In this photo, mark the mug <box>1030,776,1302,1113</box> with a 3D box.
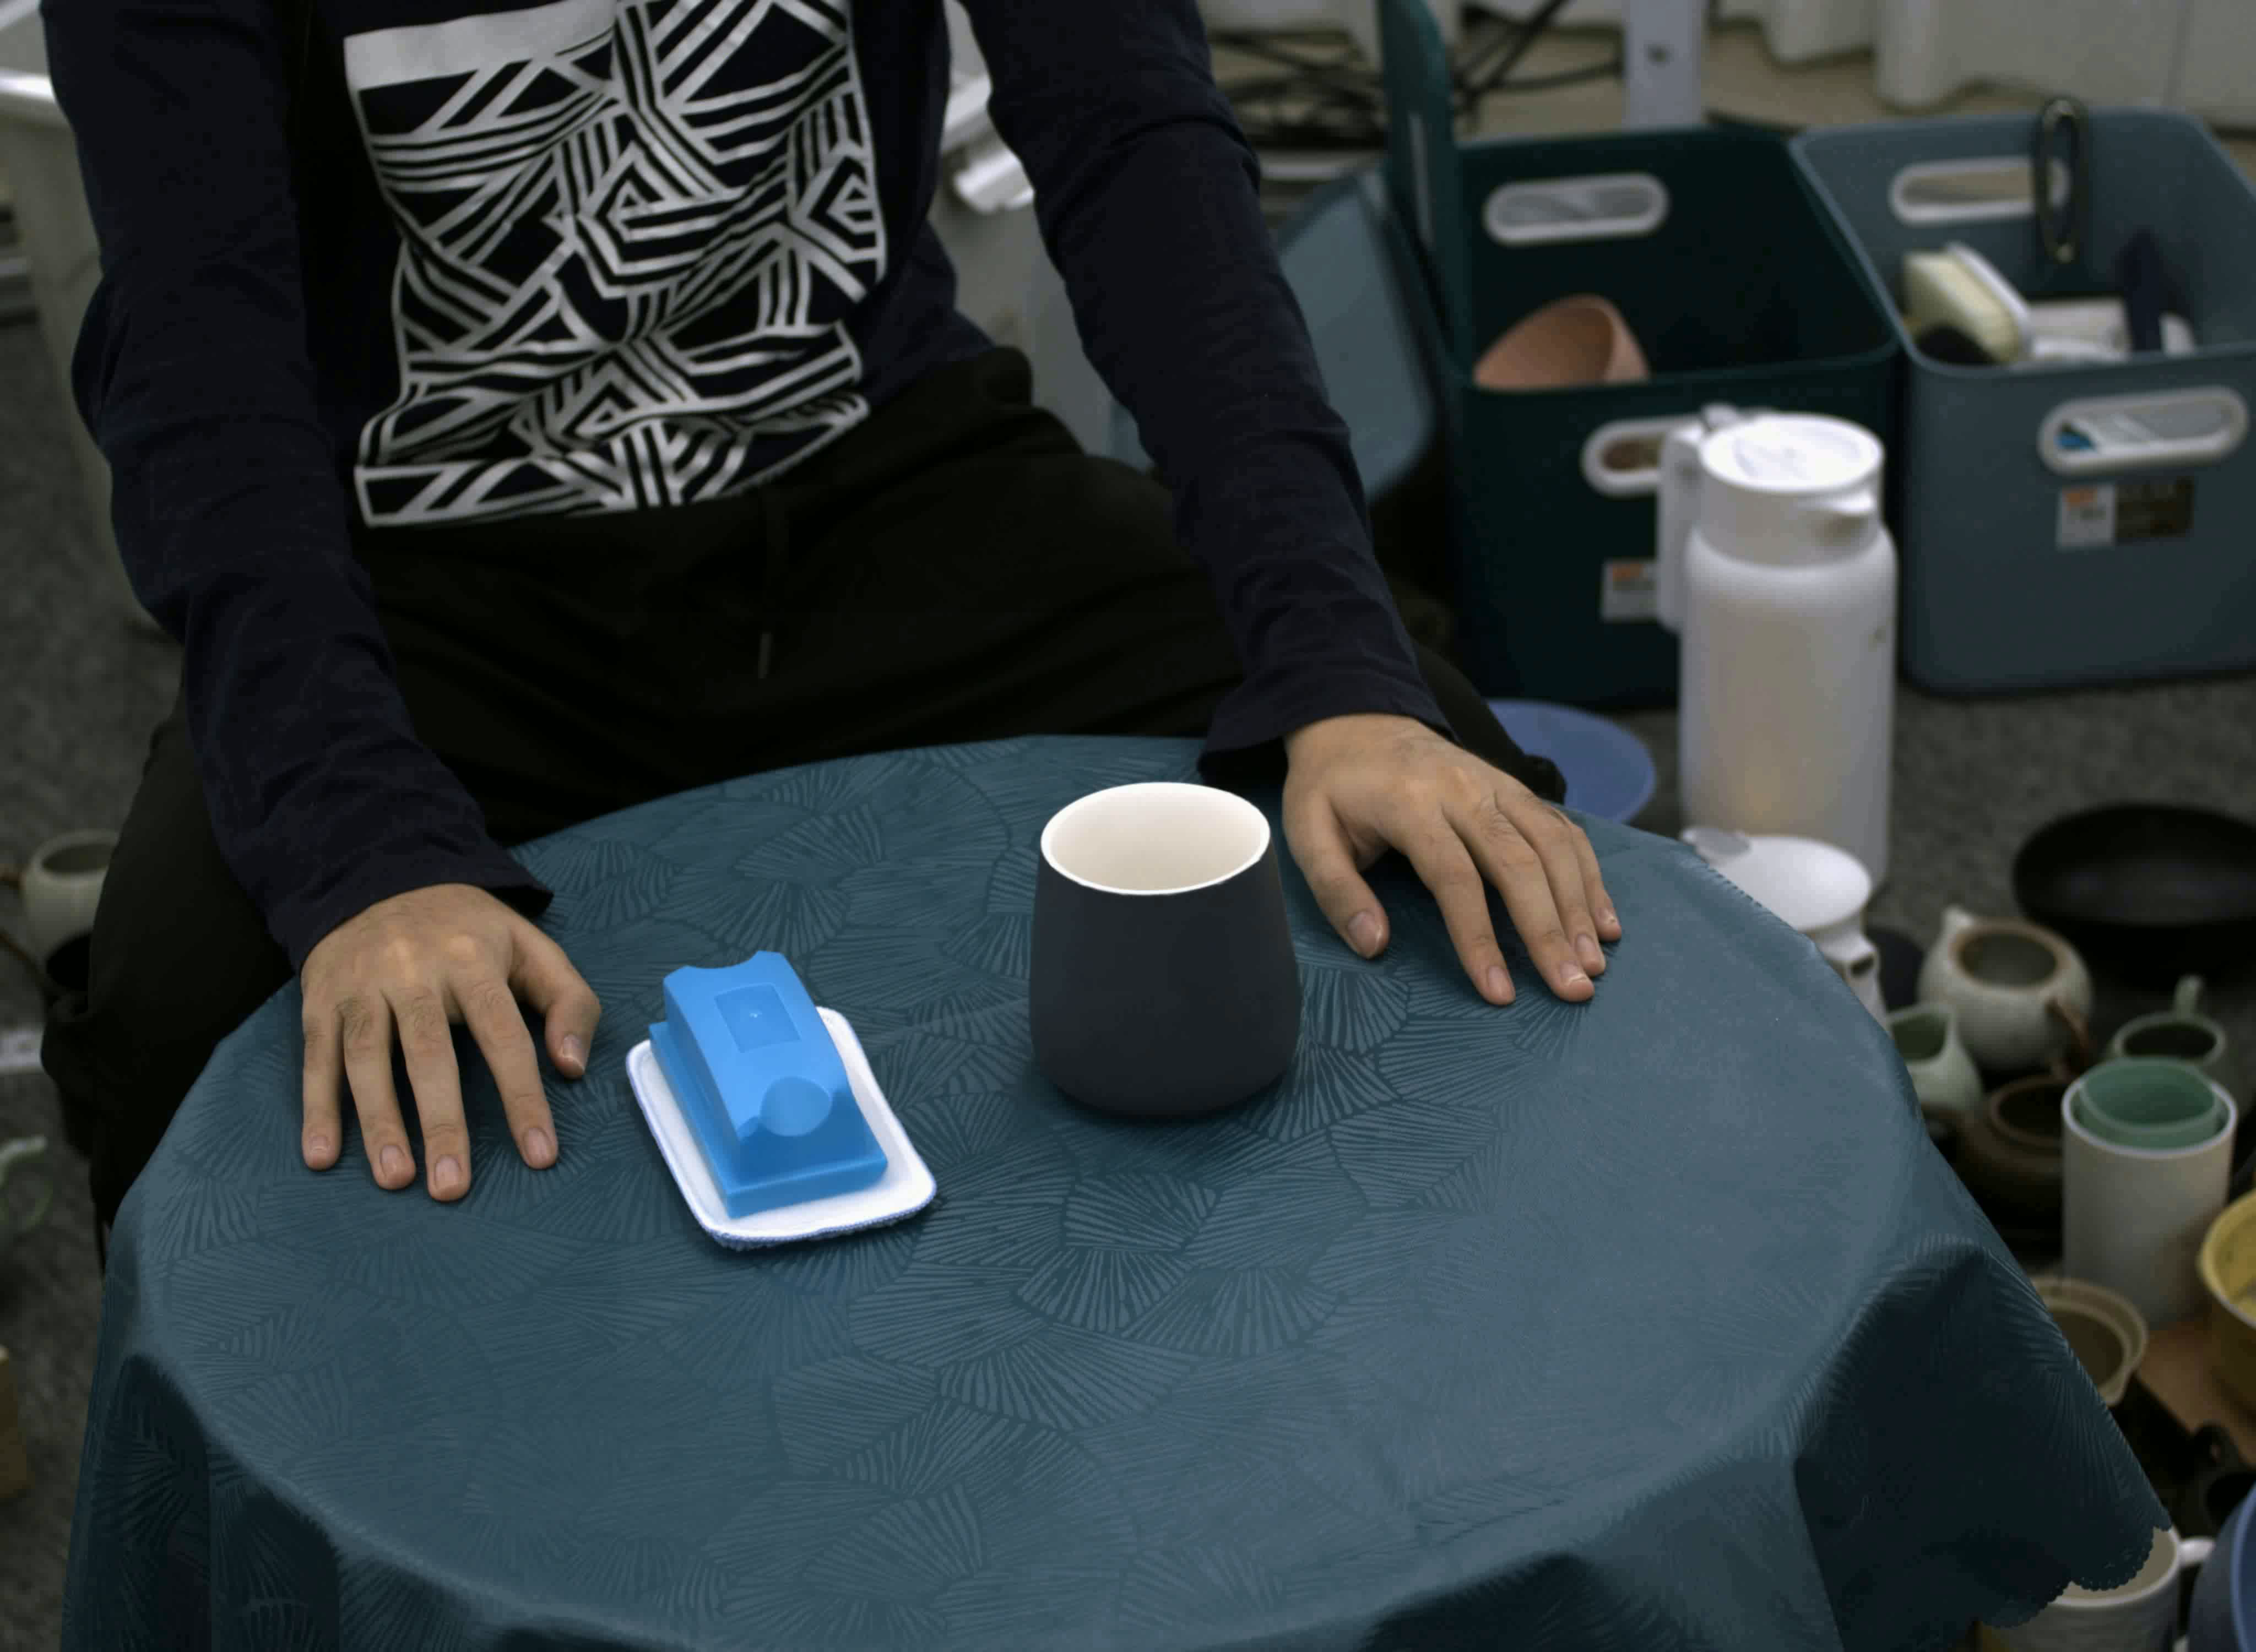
[{"bbox_3d":[0.008,0.034,1.925,0.093,0.089,0.124,-8,29,-15],"label":"mug"}]

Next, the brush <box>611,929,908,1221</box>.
[{"bbox_3d":[-0.124,0.079,1.888,0.084,0.055,0.145,-7,30,-14],"label":"brush"}]
